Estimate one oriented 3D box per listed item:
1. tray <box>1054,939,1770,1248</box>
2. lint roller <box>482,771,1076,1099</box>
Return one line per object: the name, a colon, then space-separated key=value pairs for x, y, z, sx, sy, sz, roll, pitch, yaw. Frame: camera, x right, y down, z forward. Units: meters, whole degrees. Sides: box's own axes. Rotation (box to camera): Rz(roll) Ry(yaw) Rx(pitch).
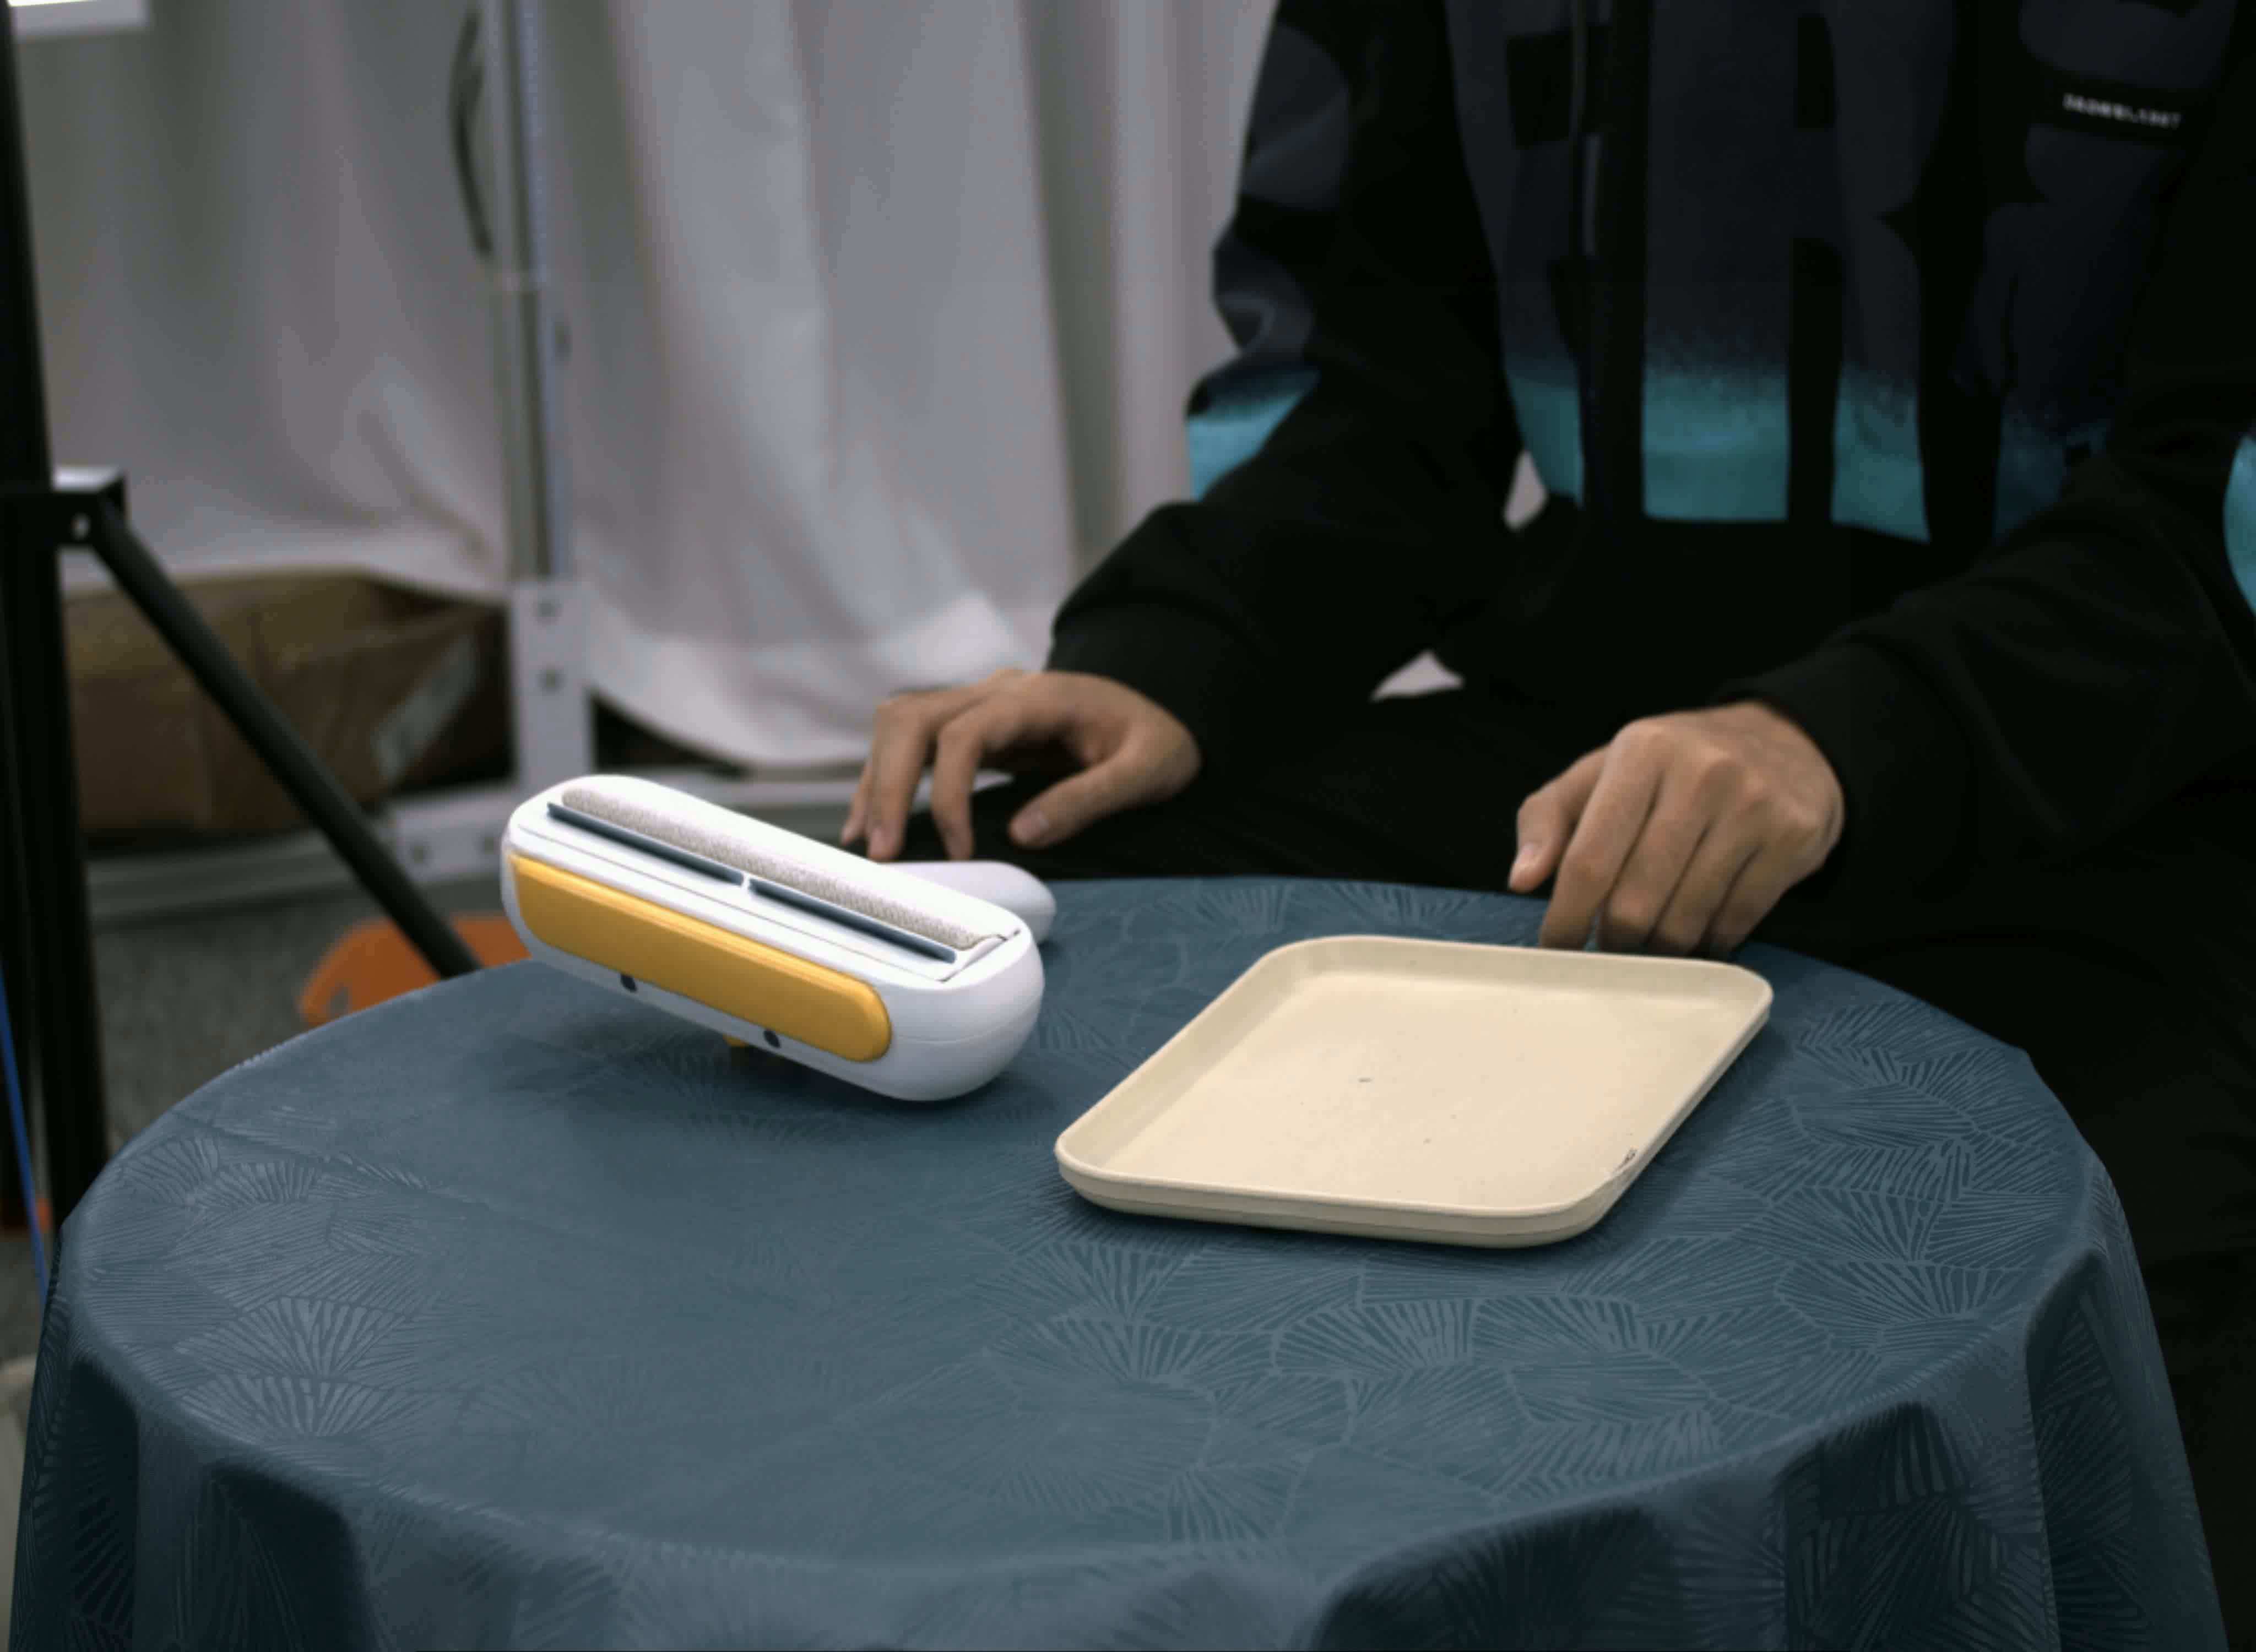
tray: x=0.090 y=0.080 z=1.609 sx=0.173 sy=0.017 sz=0.236 roll=3 pitch=17 yaw=22
lint roller: x=-0.086 y=0.027 z=1.734 sx=0.197 sy=0.074 sz=0.188 roll=16 pitch=22 yaw=36
